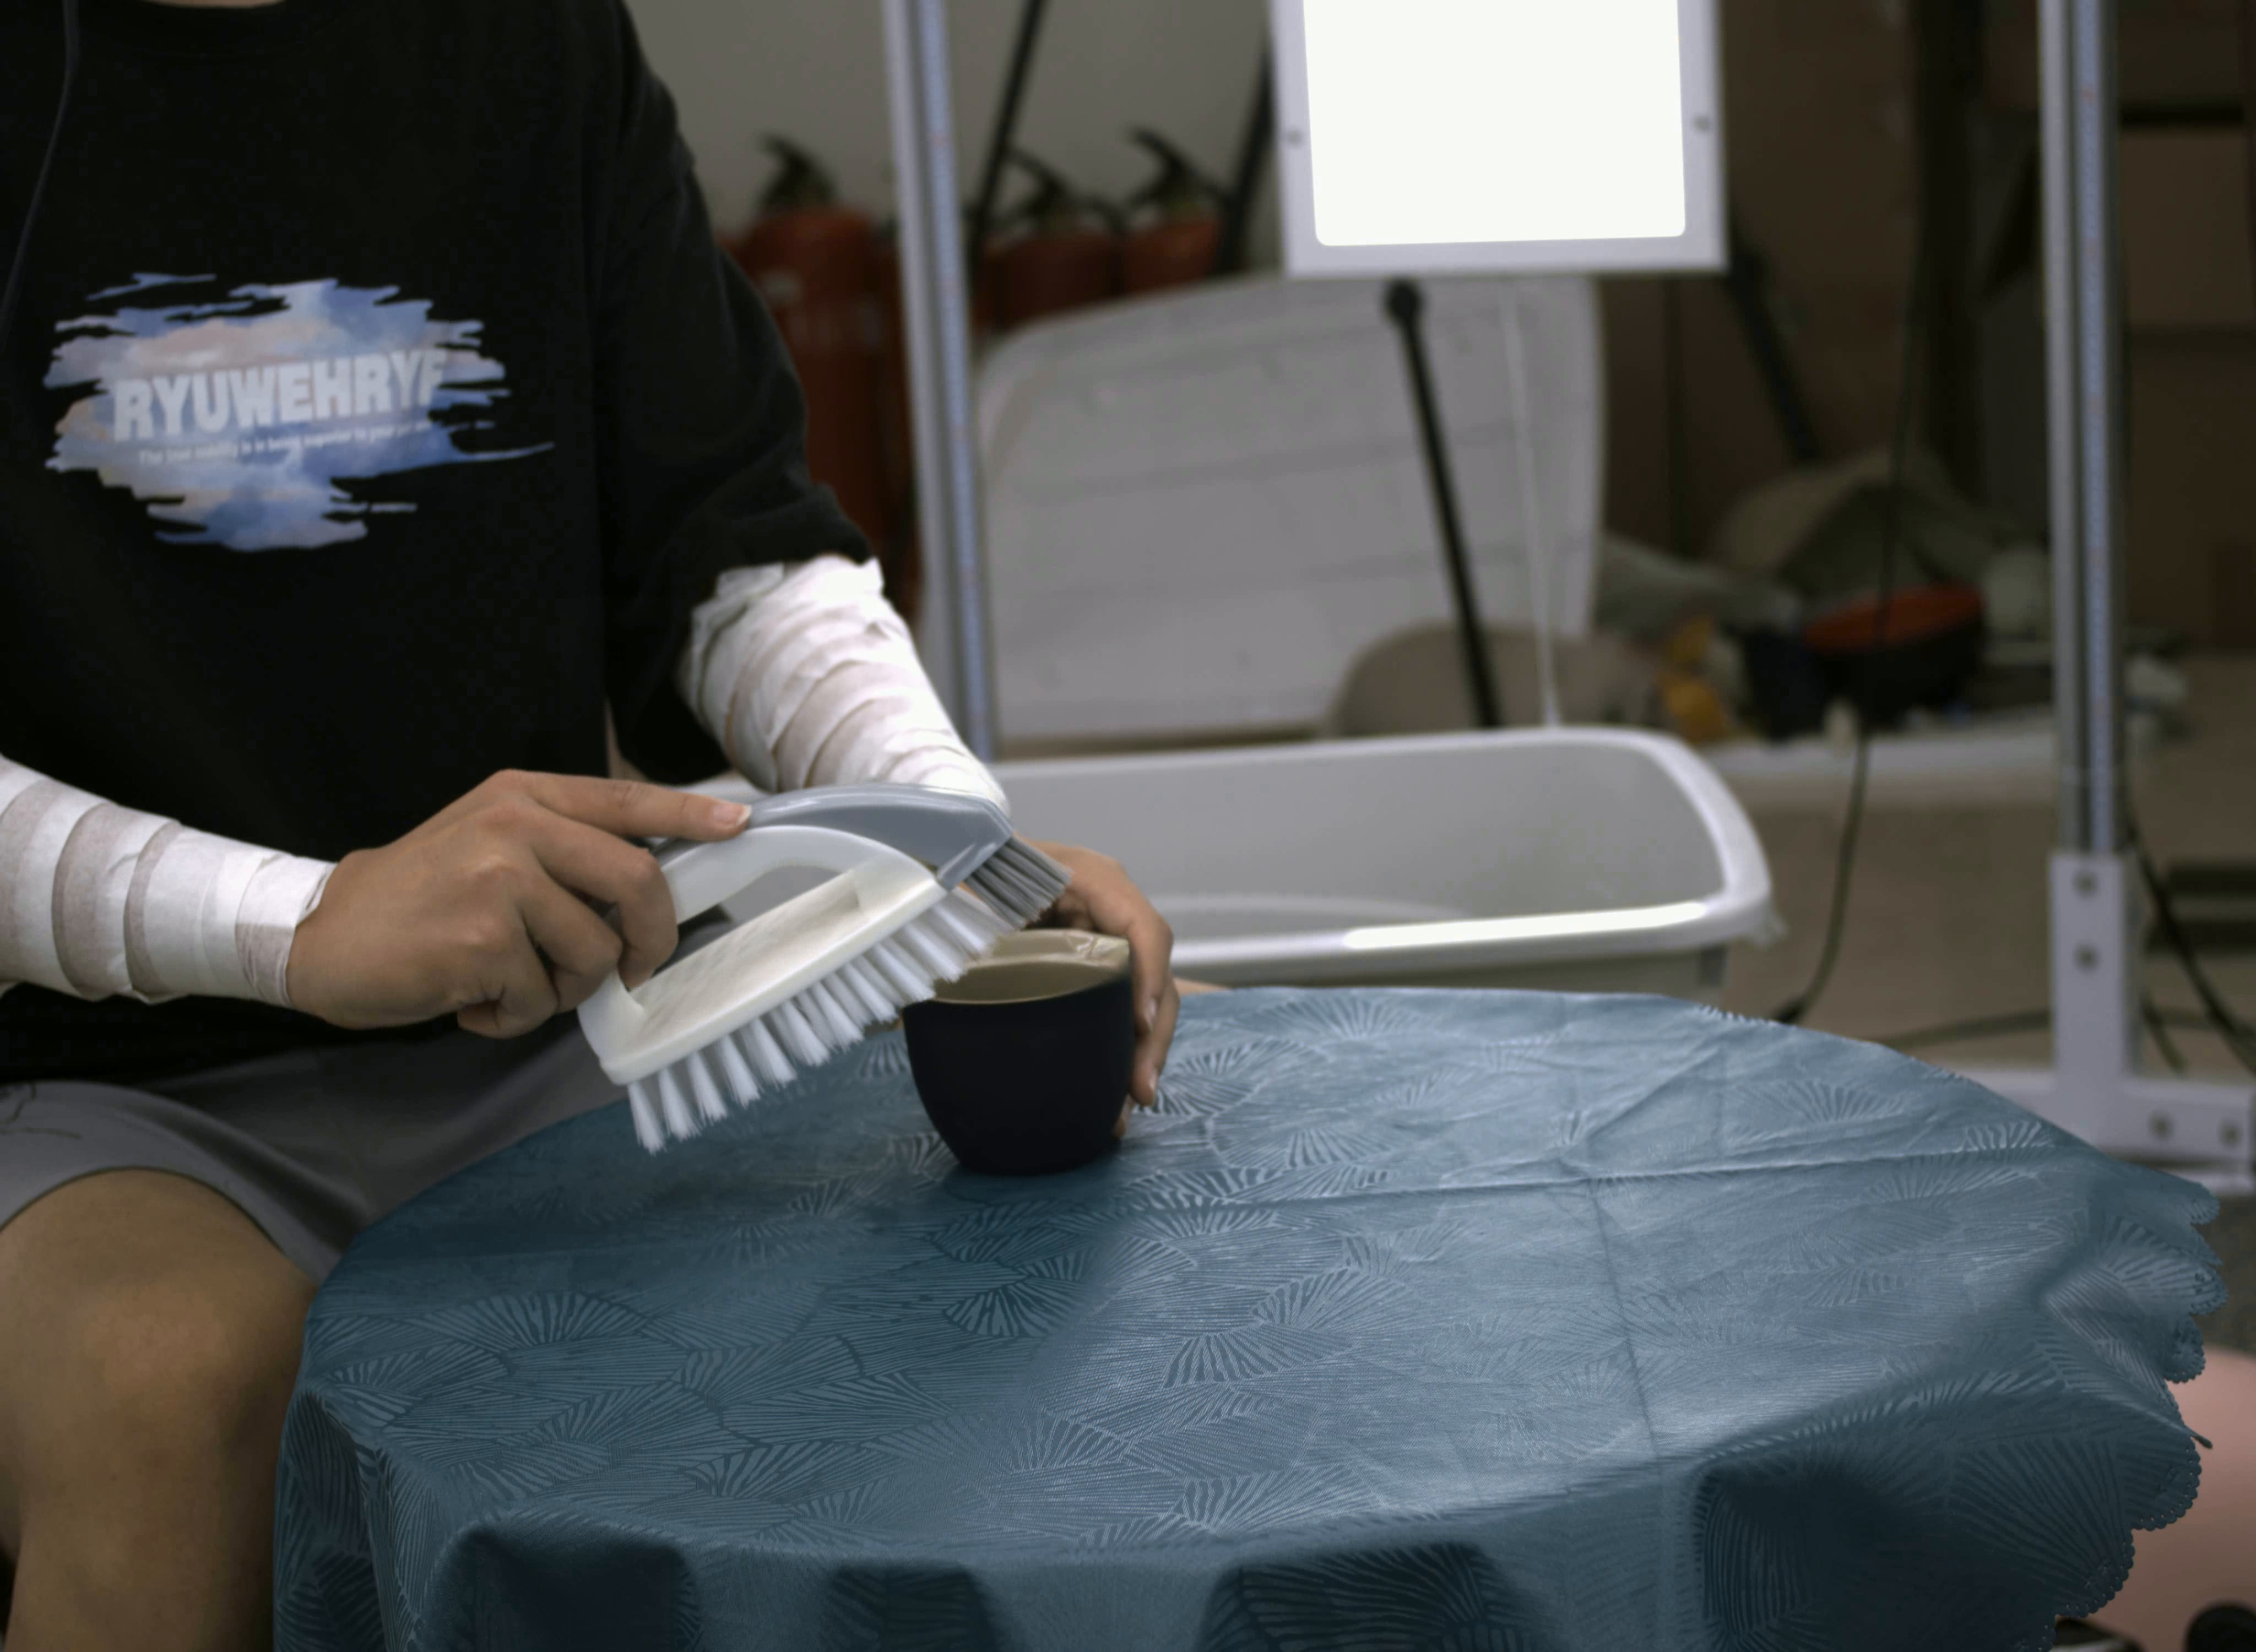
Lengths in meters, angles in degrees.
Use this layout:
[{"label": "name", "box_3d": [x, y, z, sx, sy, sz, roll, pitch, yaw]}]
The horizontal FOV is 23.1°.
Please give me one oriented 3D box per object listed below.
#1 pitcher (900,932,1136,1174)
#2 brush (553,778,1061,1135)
[{"label": "pitcher", "box_3d": [-0.034, 0.081, 1.943, 0.085, 0.071, 0.093, 5, 14, 39]}, {"label": "brush", "box_3d": [-0.118, 0.028, 1.912, 0.176, 0.093, 0.061, -27, 28, 10]}]
